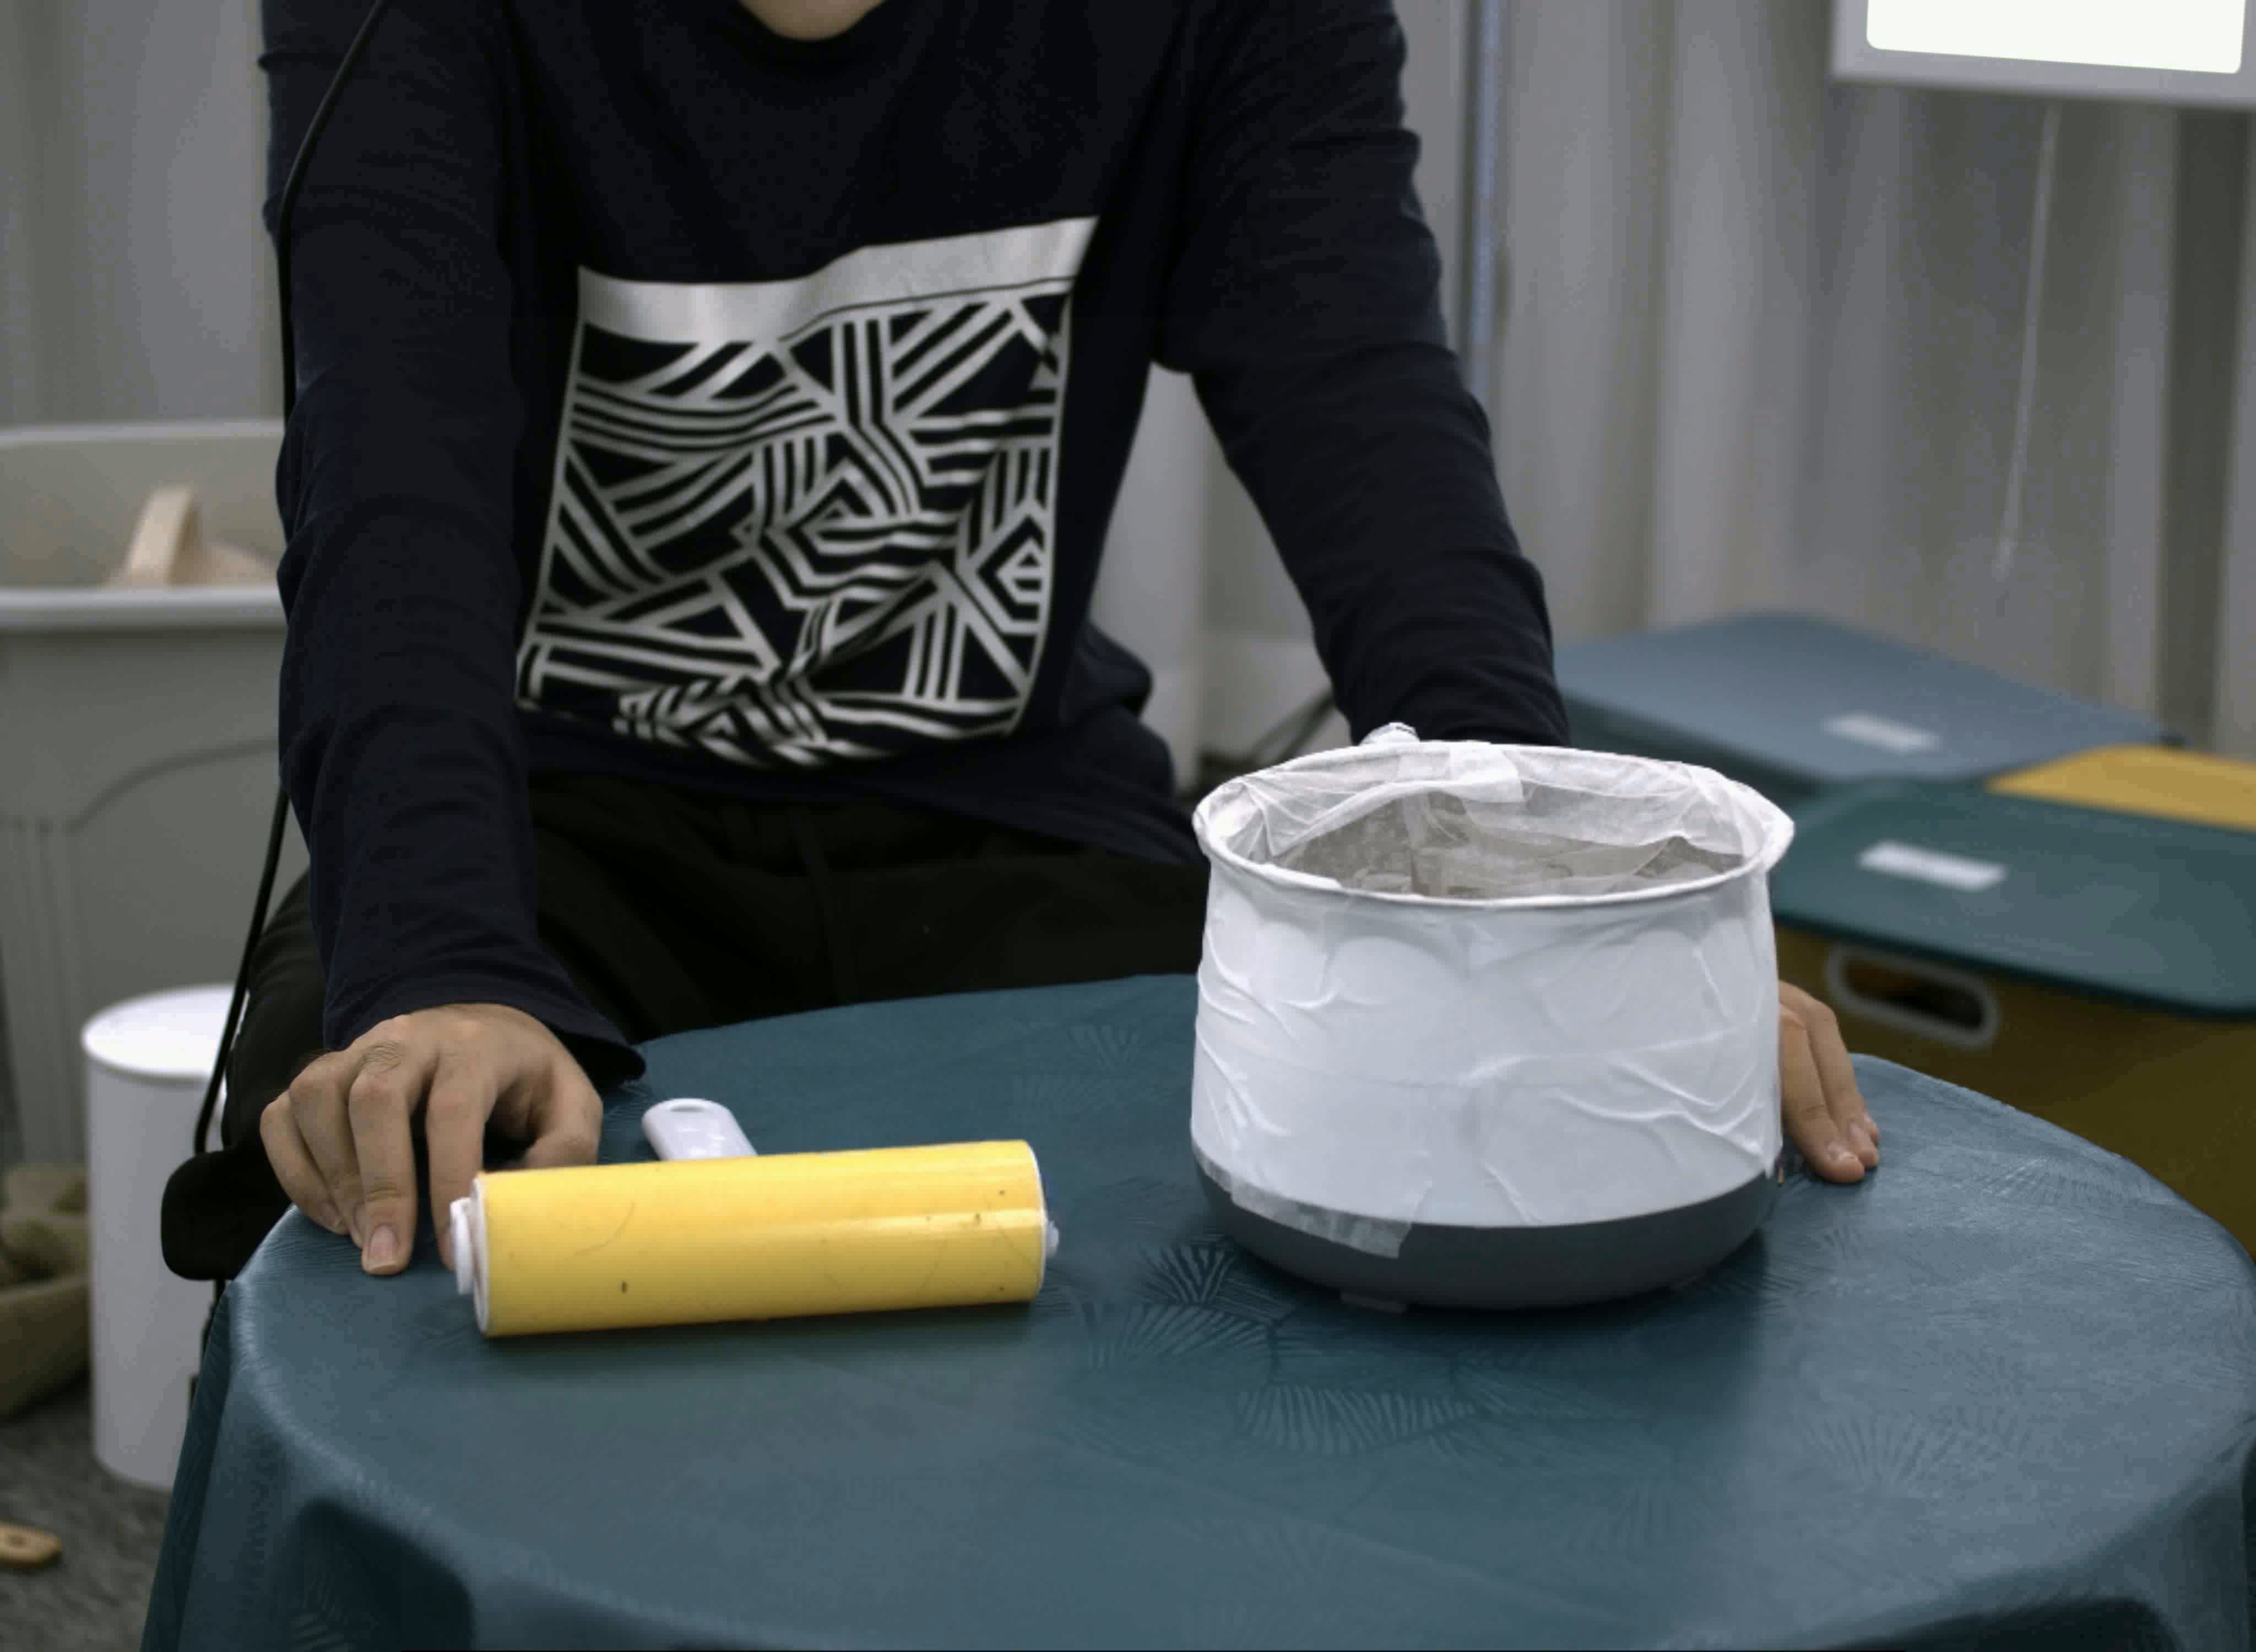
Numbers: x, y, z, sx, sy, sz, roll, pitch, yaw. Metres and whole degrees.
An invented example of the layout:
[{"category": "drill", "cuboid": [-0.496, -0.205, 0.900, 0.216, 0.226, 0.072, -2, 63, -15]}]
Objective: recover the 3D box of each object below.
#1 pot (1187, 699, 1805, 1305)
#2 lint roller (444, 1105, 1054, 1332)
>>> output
[{"category": "pot", "cuboid": [0.099, 0.047, 1.589, 0.179, 0.138, 0.231, -2, 18, -16]}, {"category": "lint roller", "cuboid": [-0.124, 0.100, 1.575, 0.174, 0.052, 0.190, -2, 17, -13]}]
